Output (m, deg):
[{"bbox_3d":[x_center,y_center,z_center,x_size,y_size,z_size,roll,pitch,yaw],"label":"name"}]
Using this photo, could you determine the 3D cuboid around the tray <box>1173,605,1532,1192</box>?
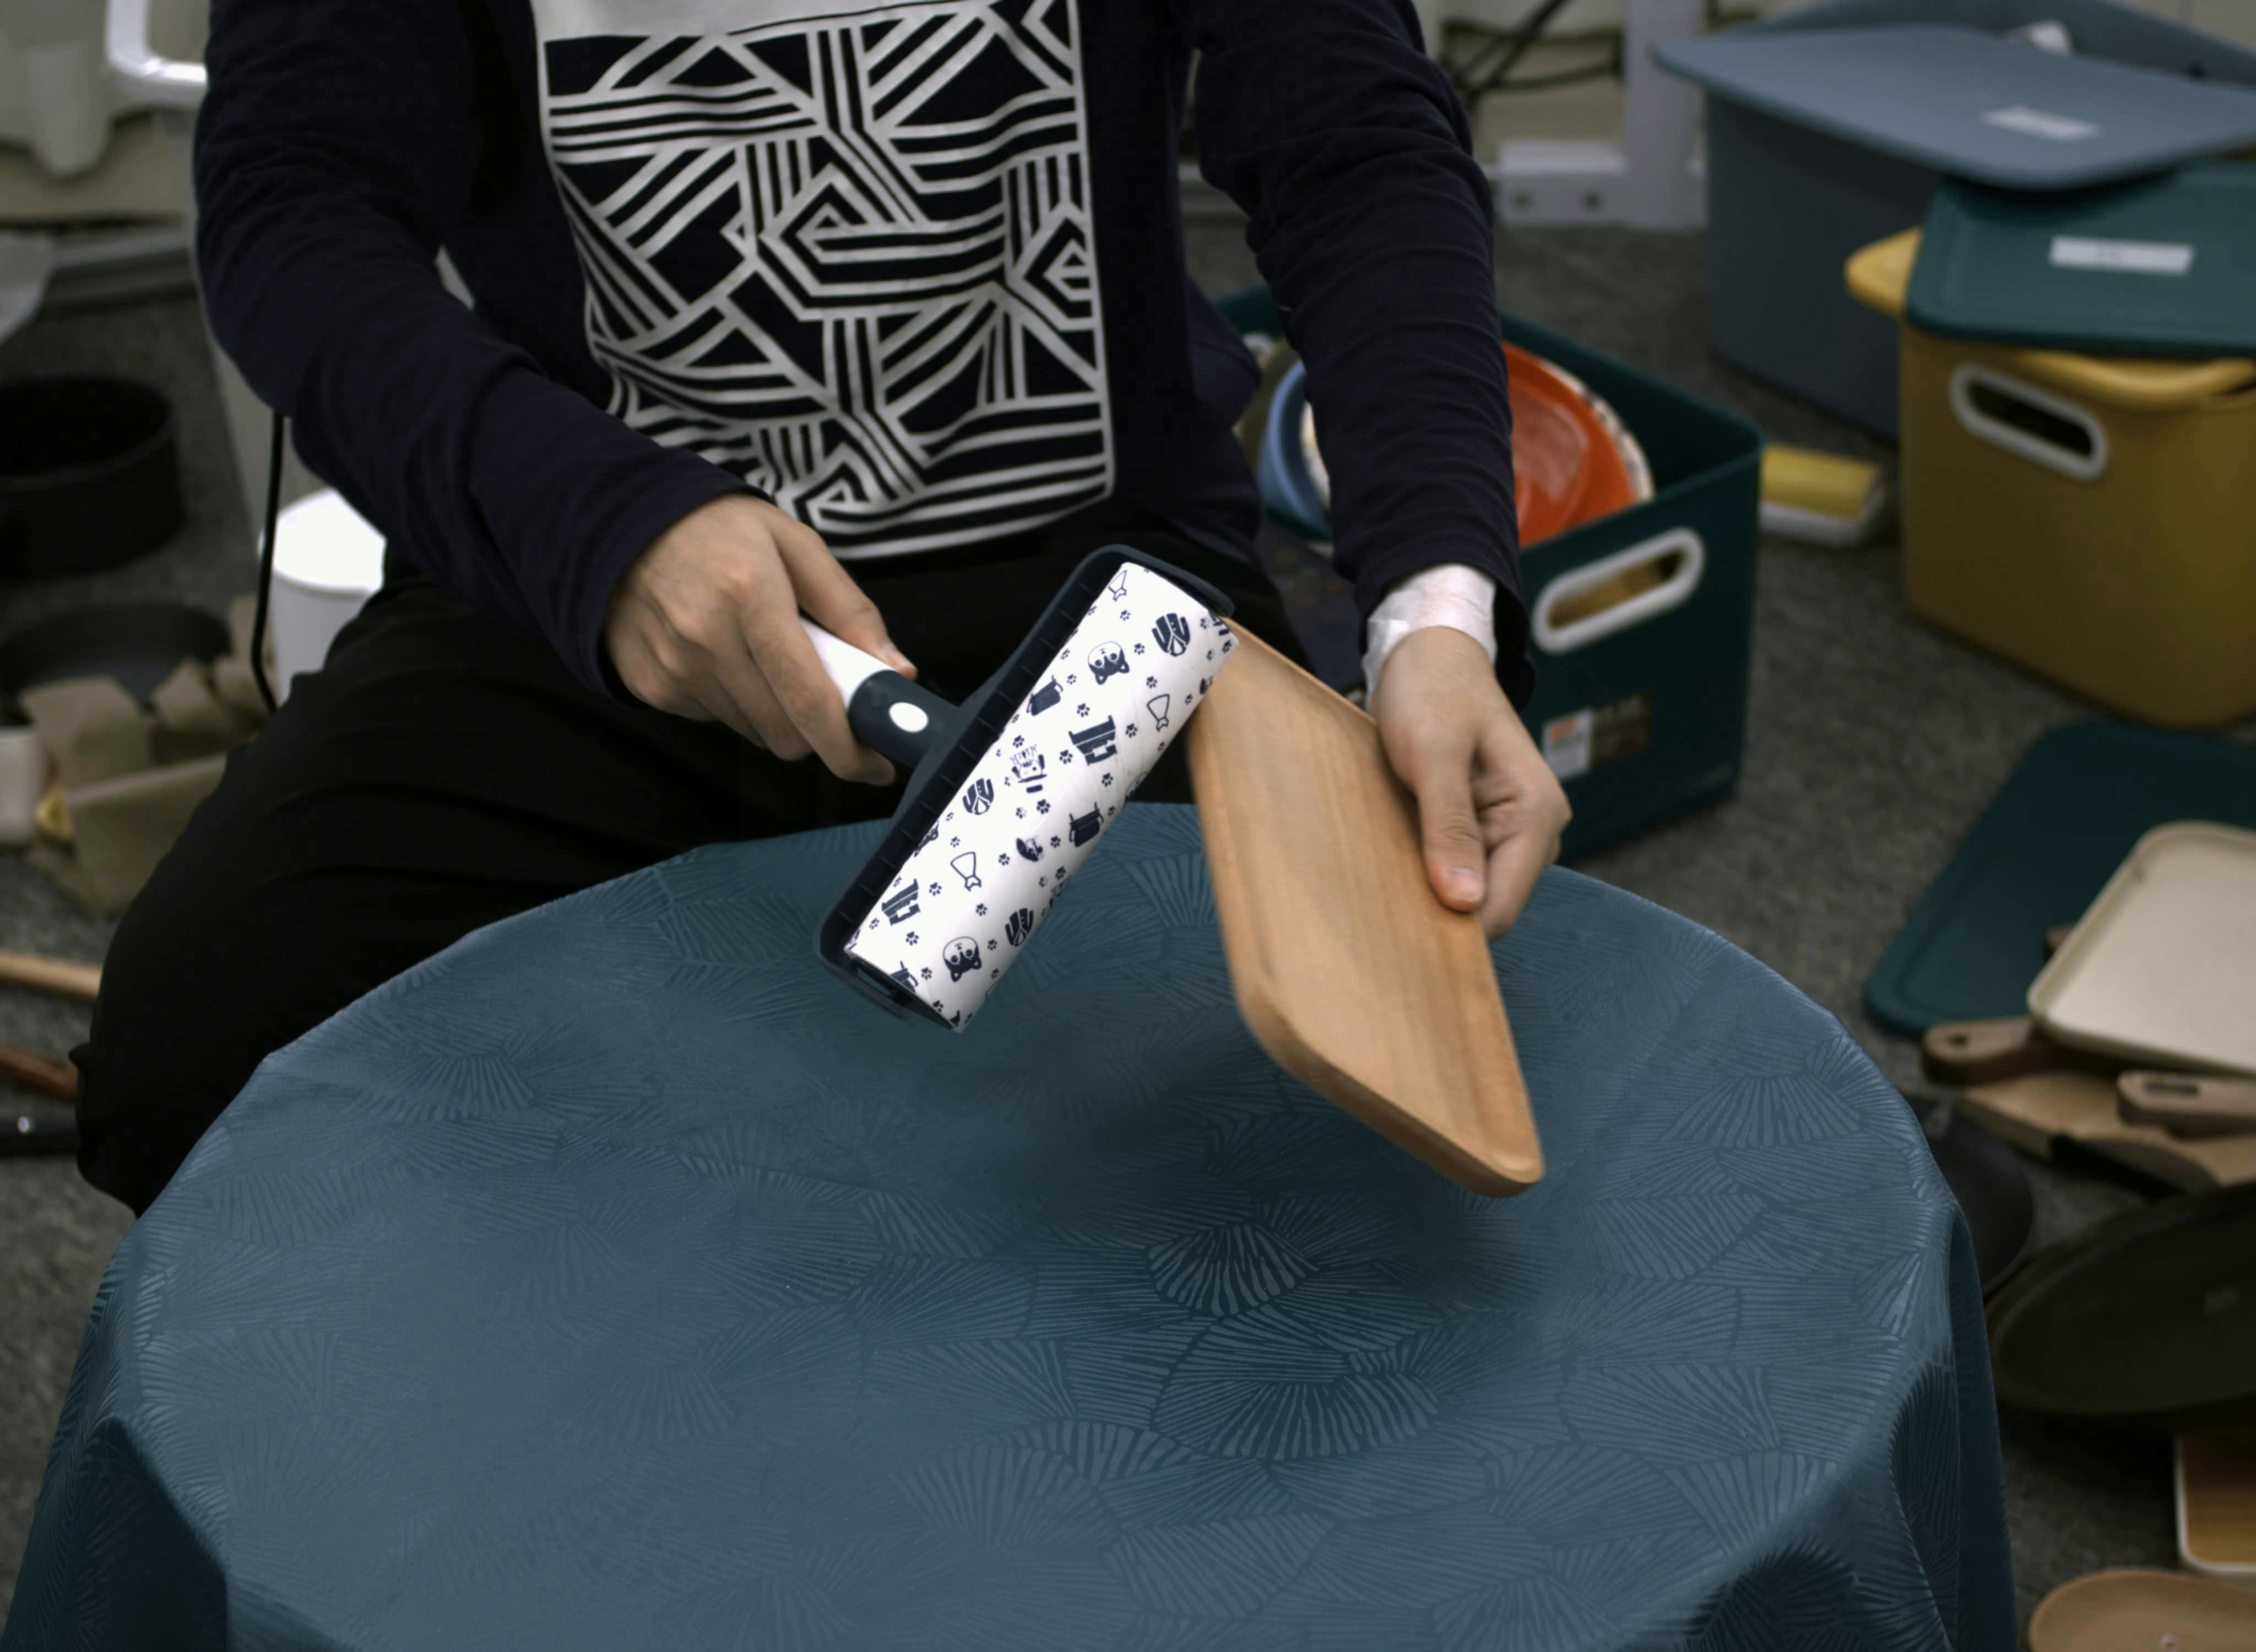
[{"bbox_3d":[0.069,0.021,1.851,0.022,0.130,0.255,-42,27,20],"label":"tray"}]

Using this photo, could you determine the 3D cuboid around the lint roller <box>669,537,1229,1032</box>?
[{"bbox_3d":[-0.090,-0.042,1.917,0.247,0.050,0.177,26,78,46],"label":"lint roller"}]
